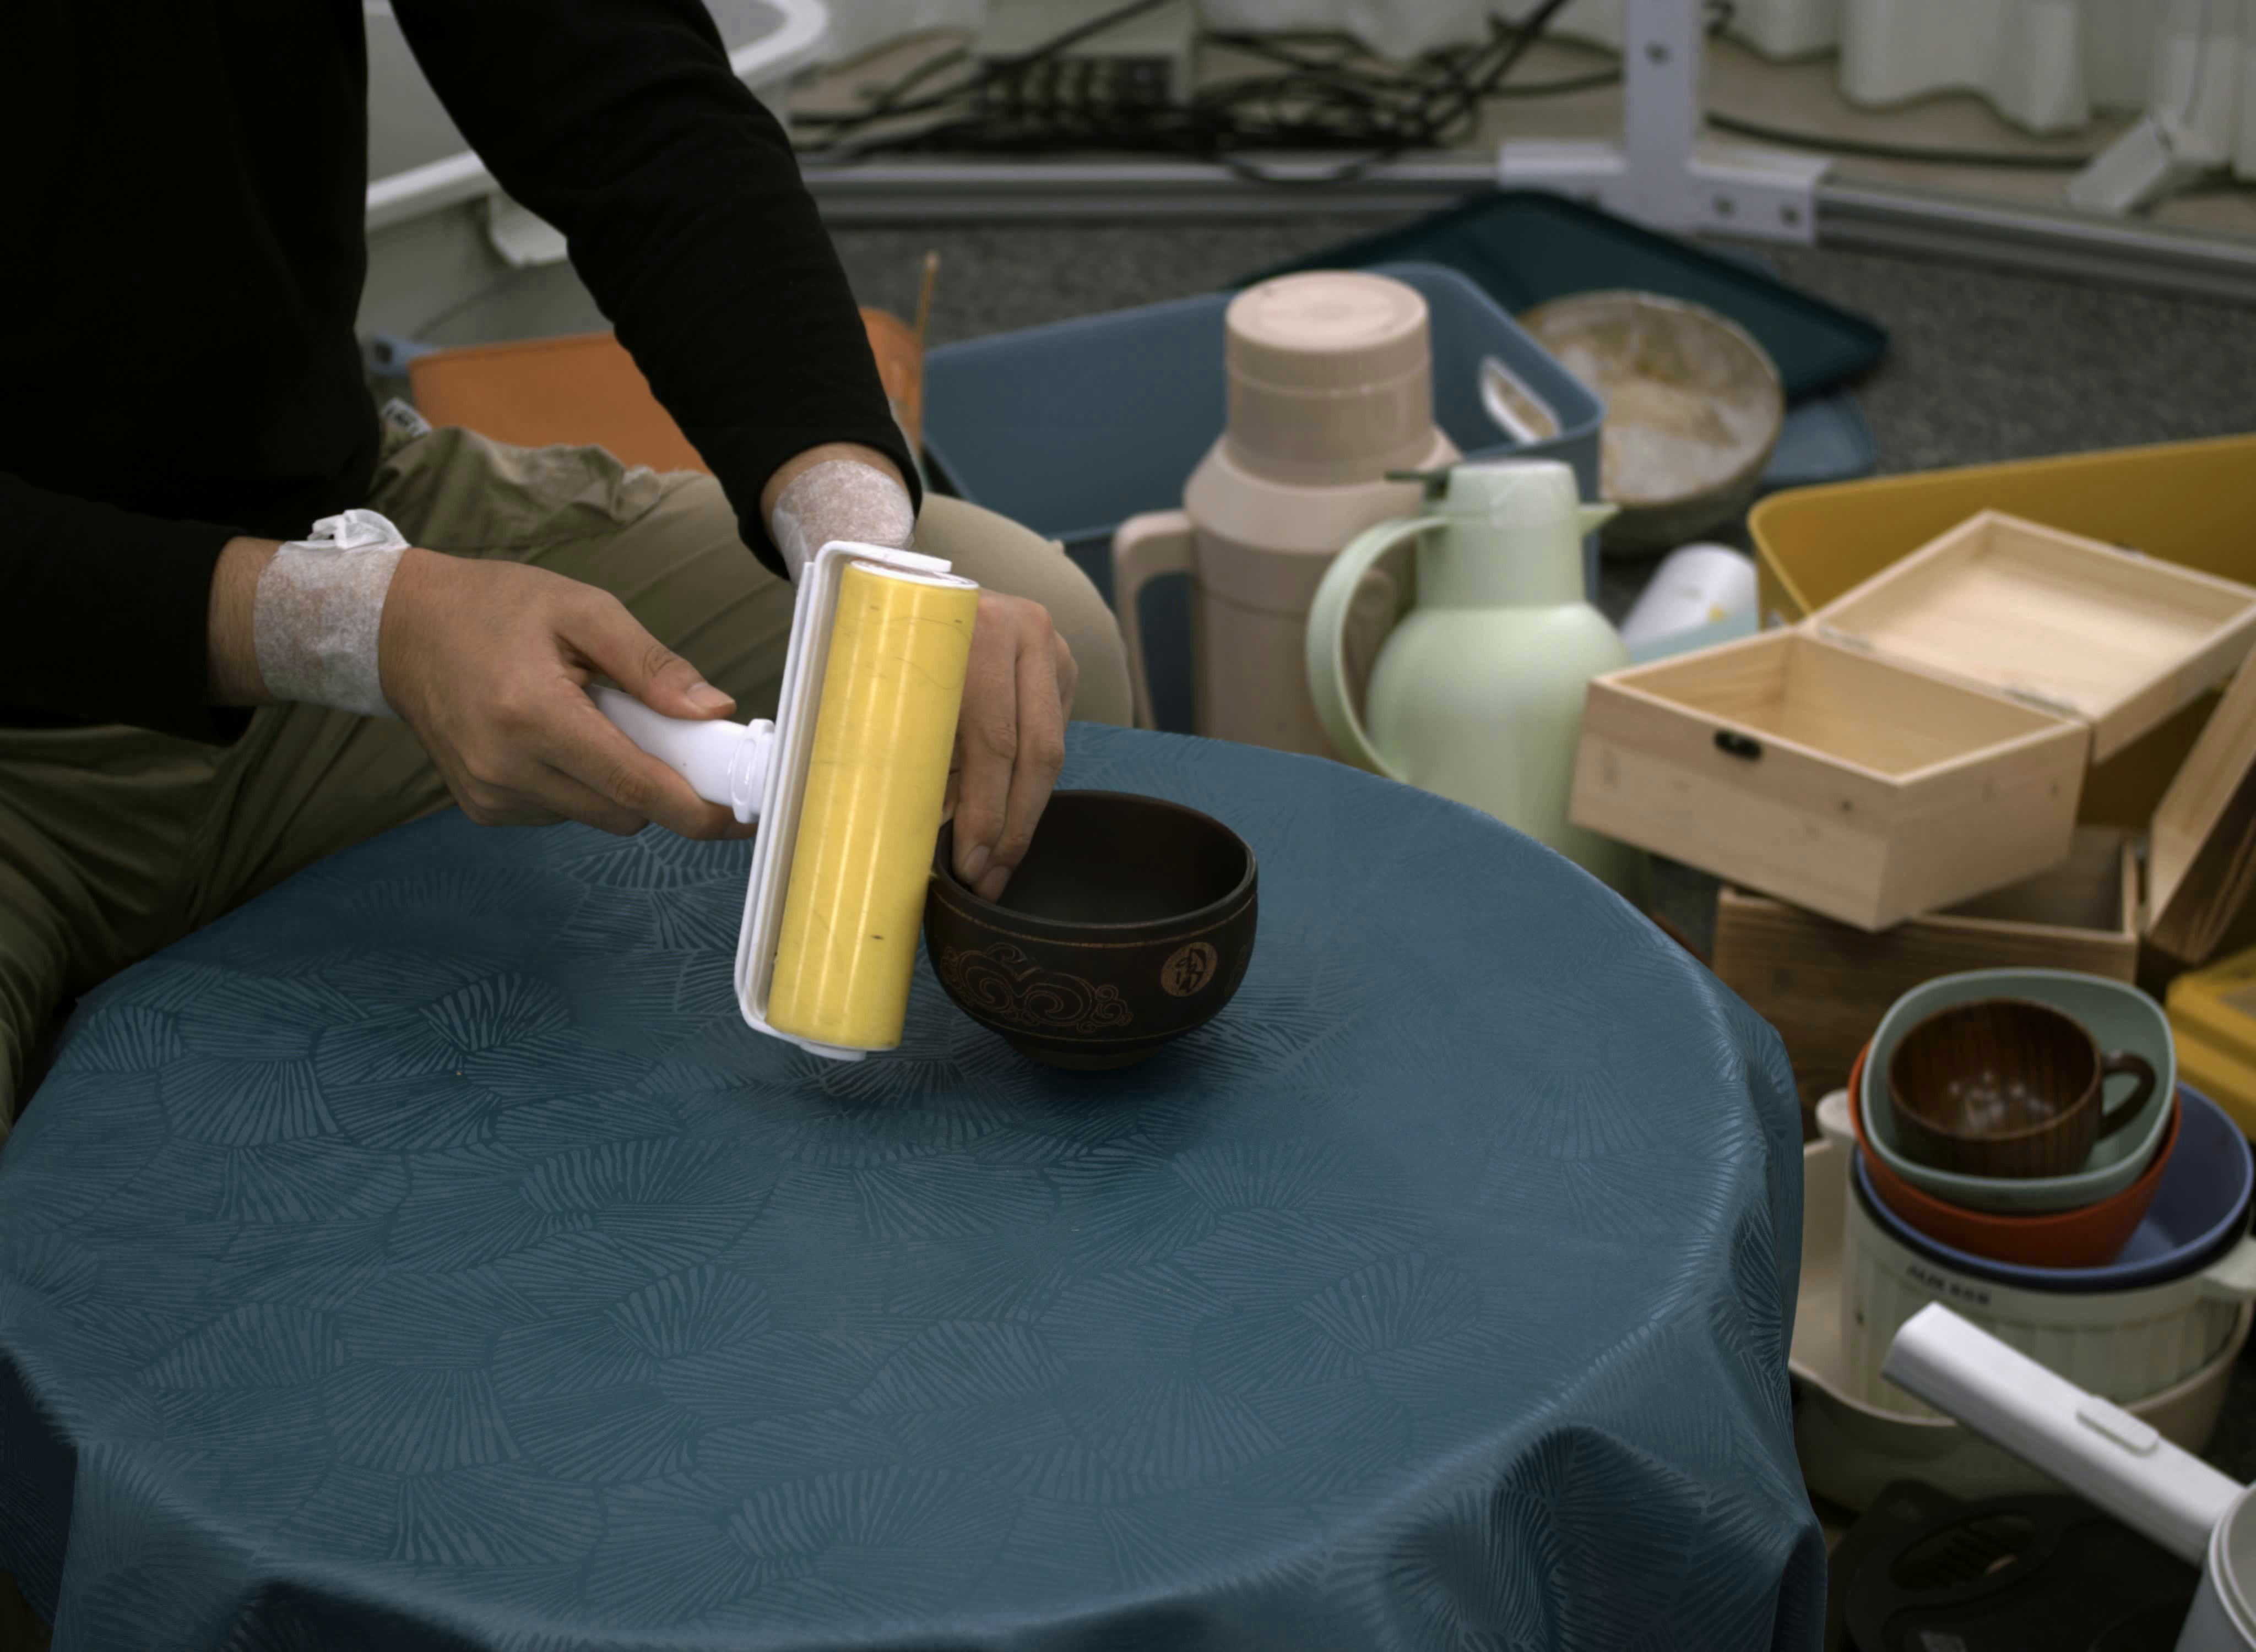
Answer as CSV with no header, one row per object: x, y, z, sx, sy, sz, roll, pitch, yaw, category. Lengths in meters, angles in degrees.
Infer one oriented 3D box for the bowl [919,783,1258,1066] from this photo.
-0.015,0.039,1.936,0.117,0.069,0.119,4,23,-1,bowl

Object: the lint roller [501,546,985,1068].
-0.146,-0.018,1.938,0.191,0.174,0.051,11,4,26,lint roller
